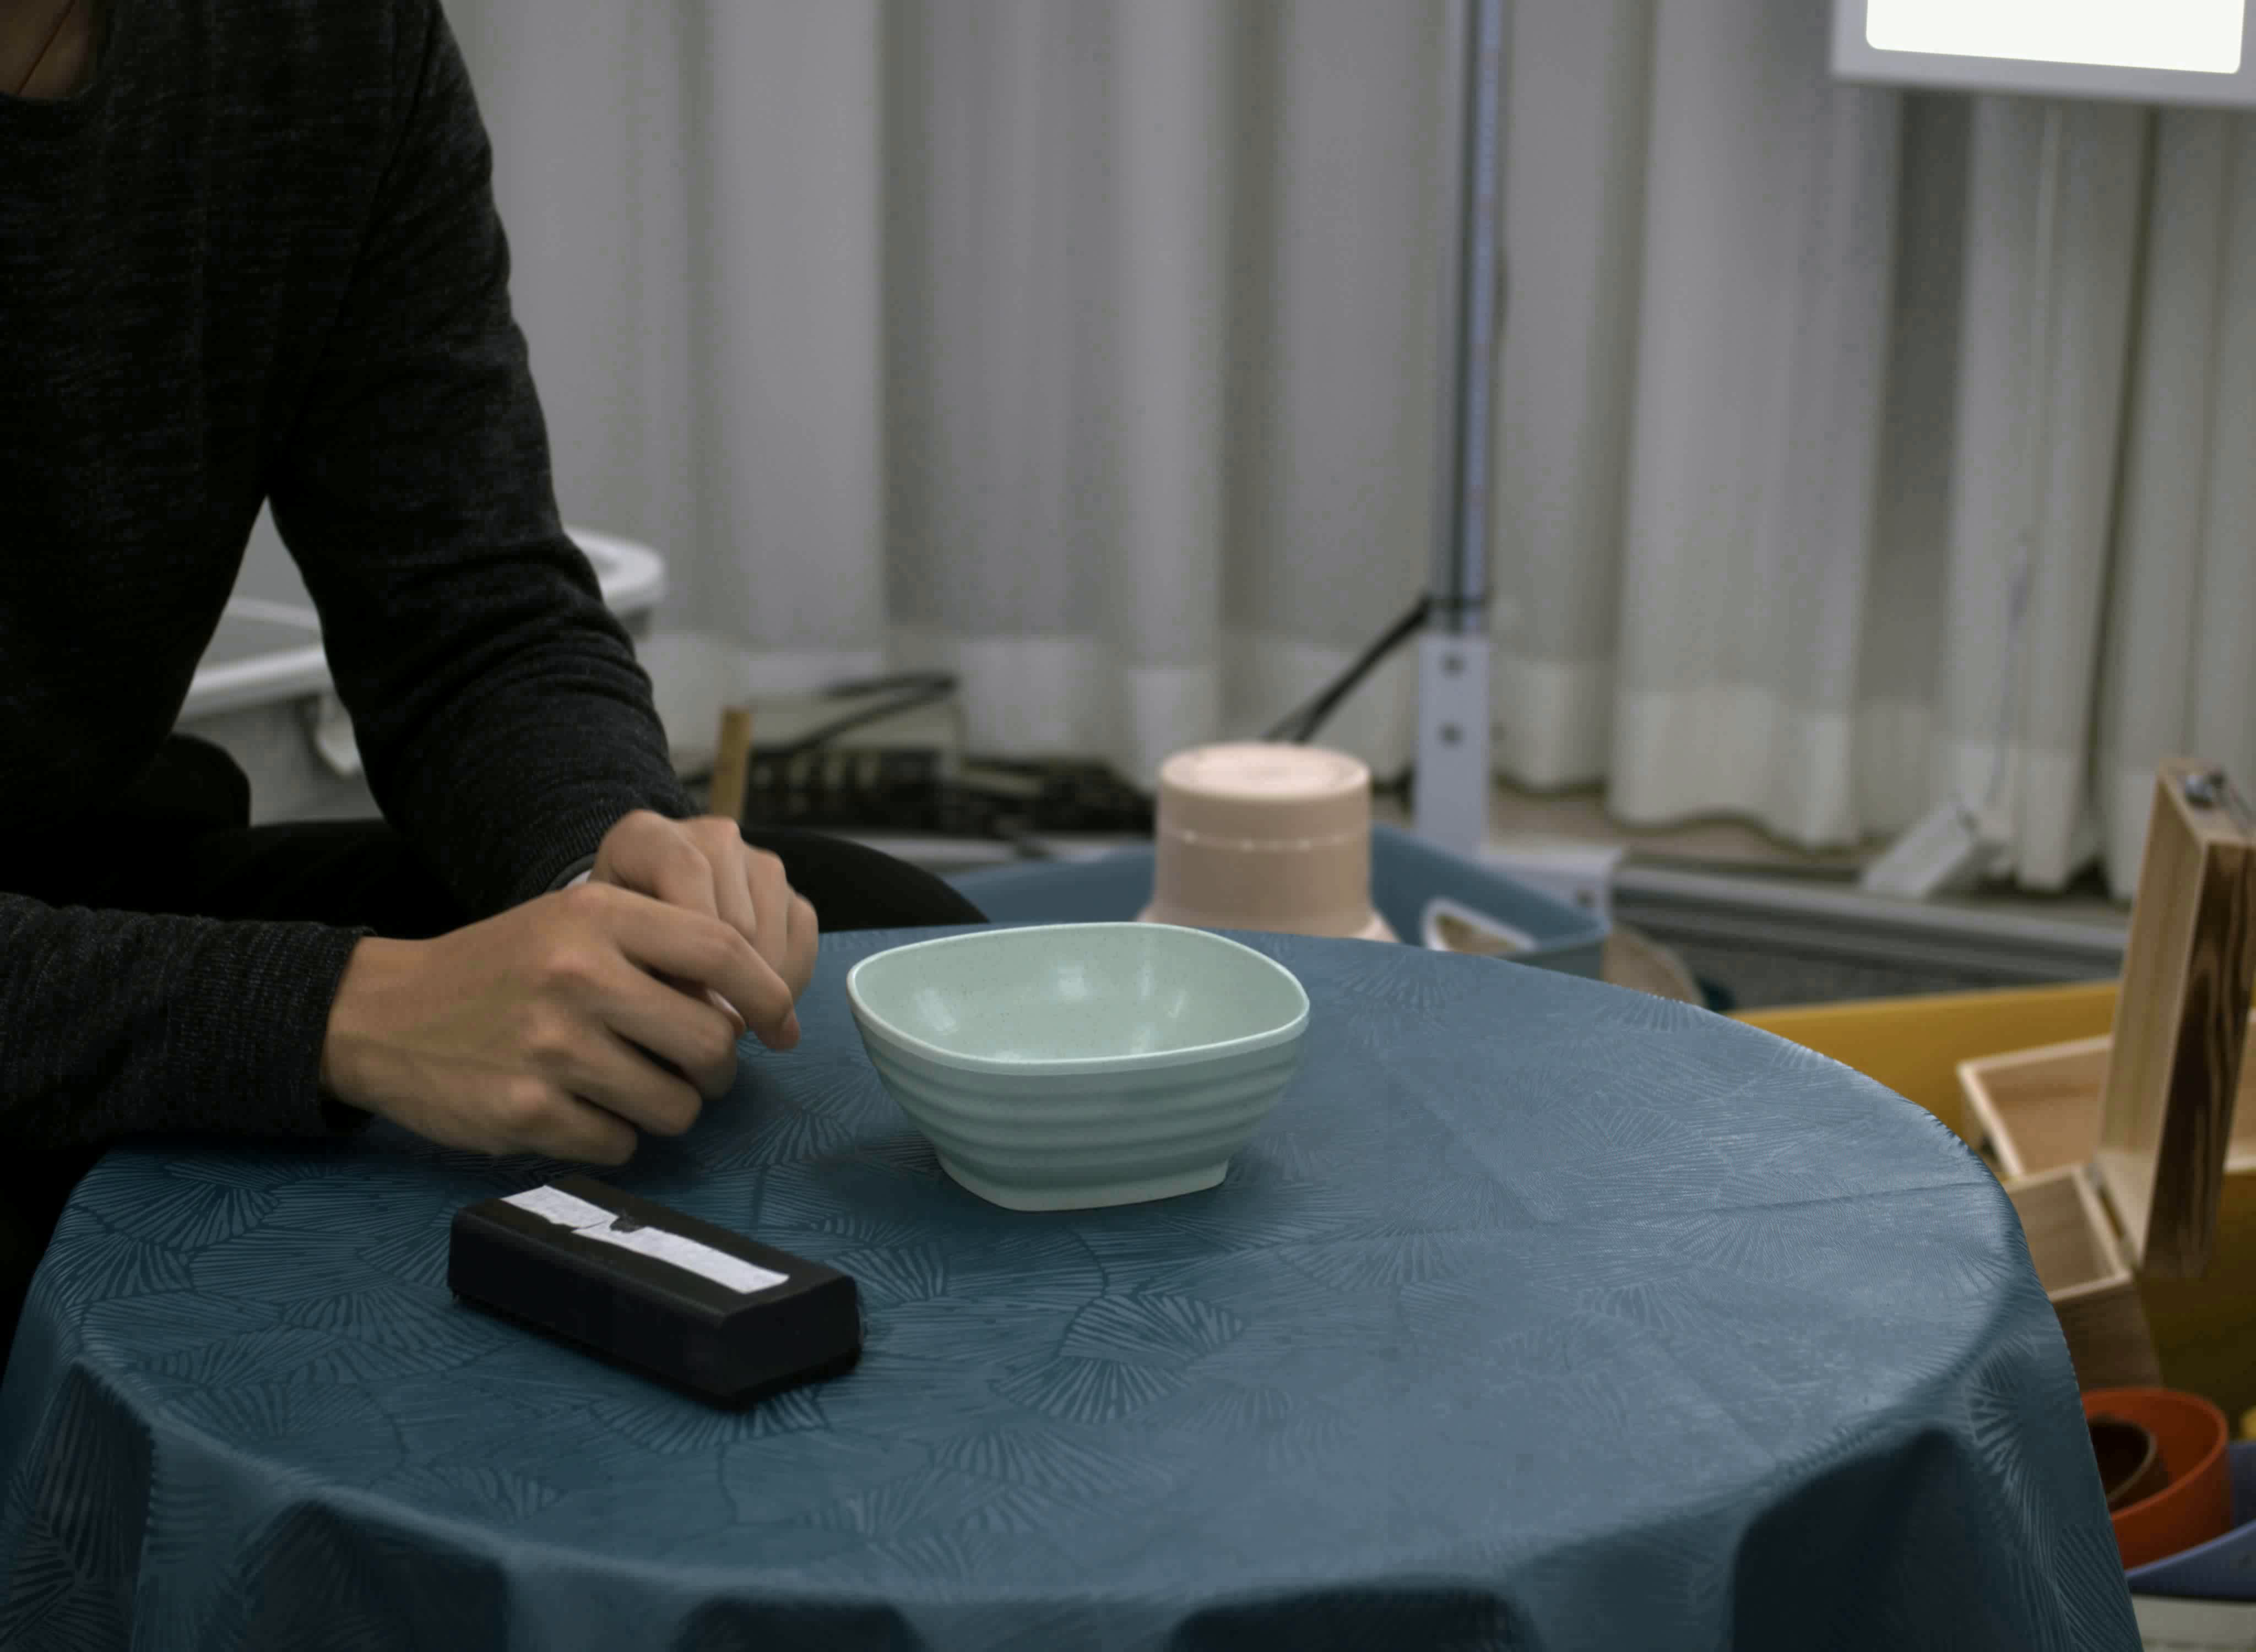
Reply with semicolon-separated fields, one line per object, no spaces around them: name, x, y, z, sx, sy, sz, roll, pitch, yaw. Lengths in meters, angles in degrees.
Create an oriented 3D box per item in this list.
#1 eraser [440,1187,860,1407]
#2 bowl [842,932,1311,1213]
eraser;-0.136;0.132;1.492;0.124;0.030;0.054;14;18;42
bowl;-0.017;0.079;1.637;0.151;0.059;0.150;3;15;0
